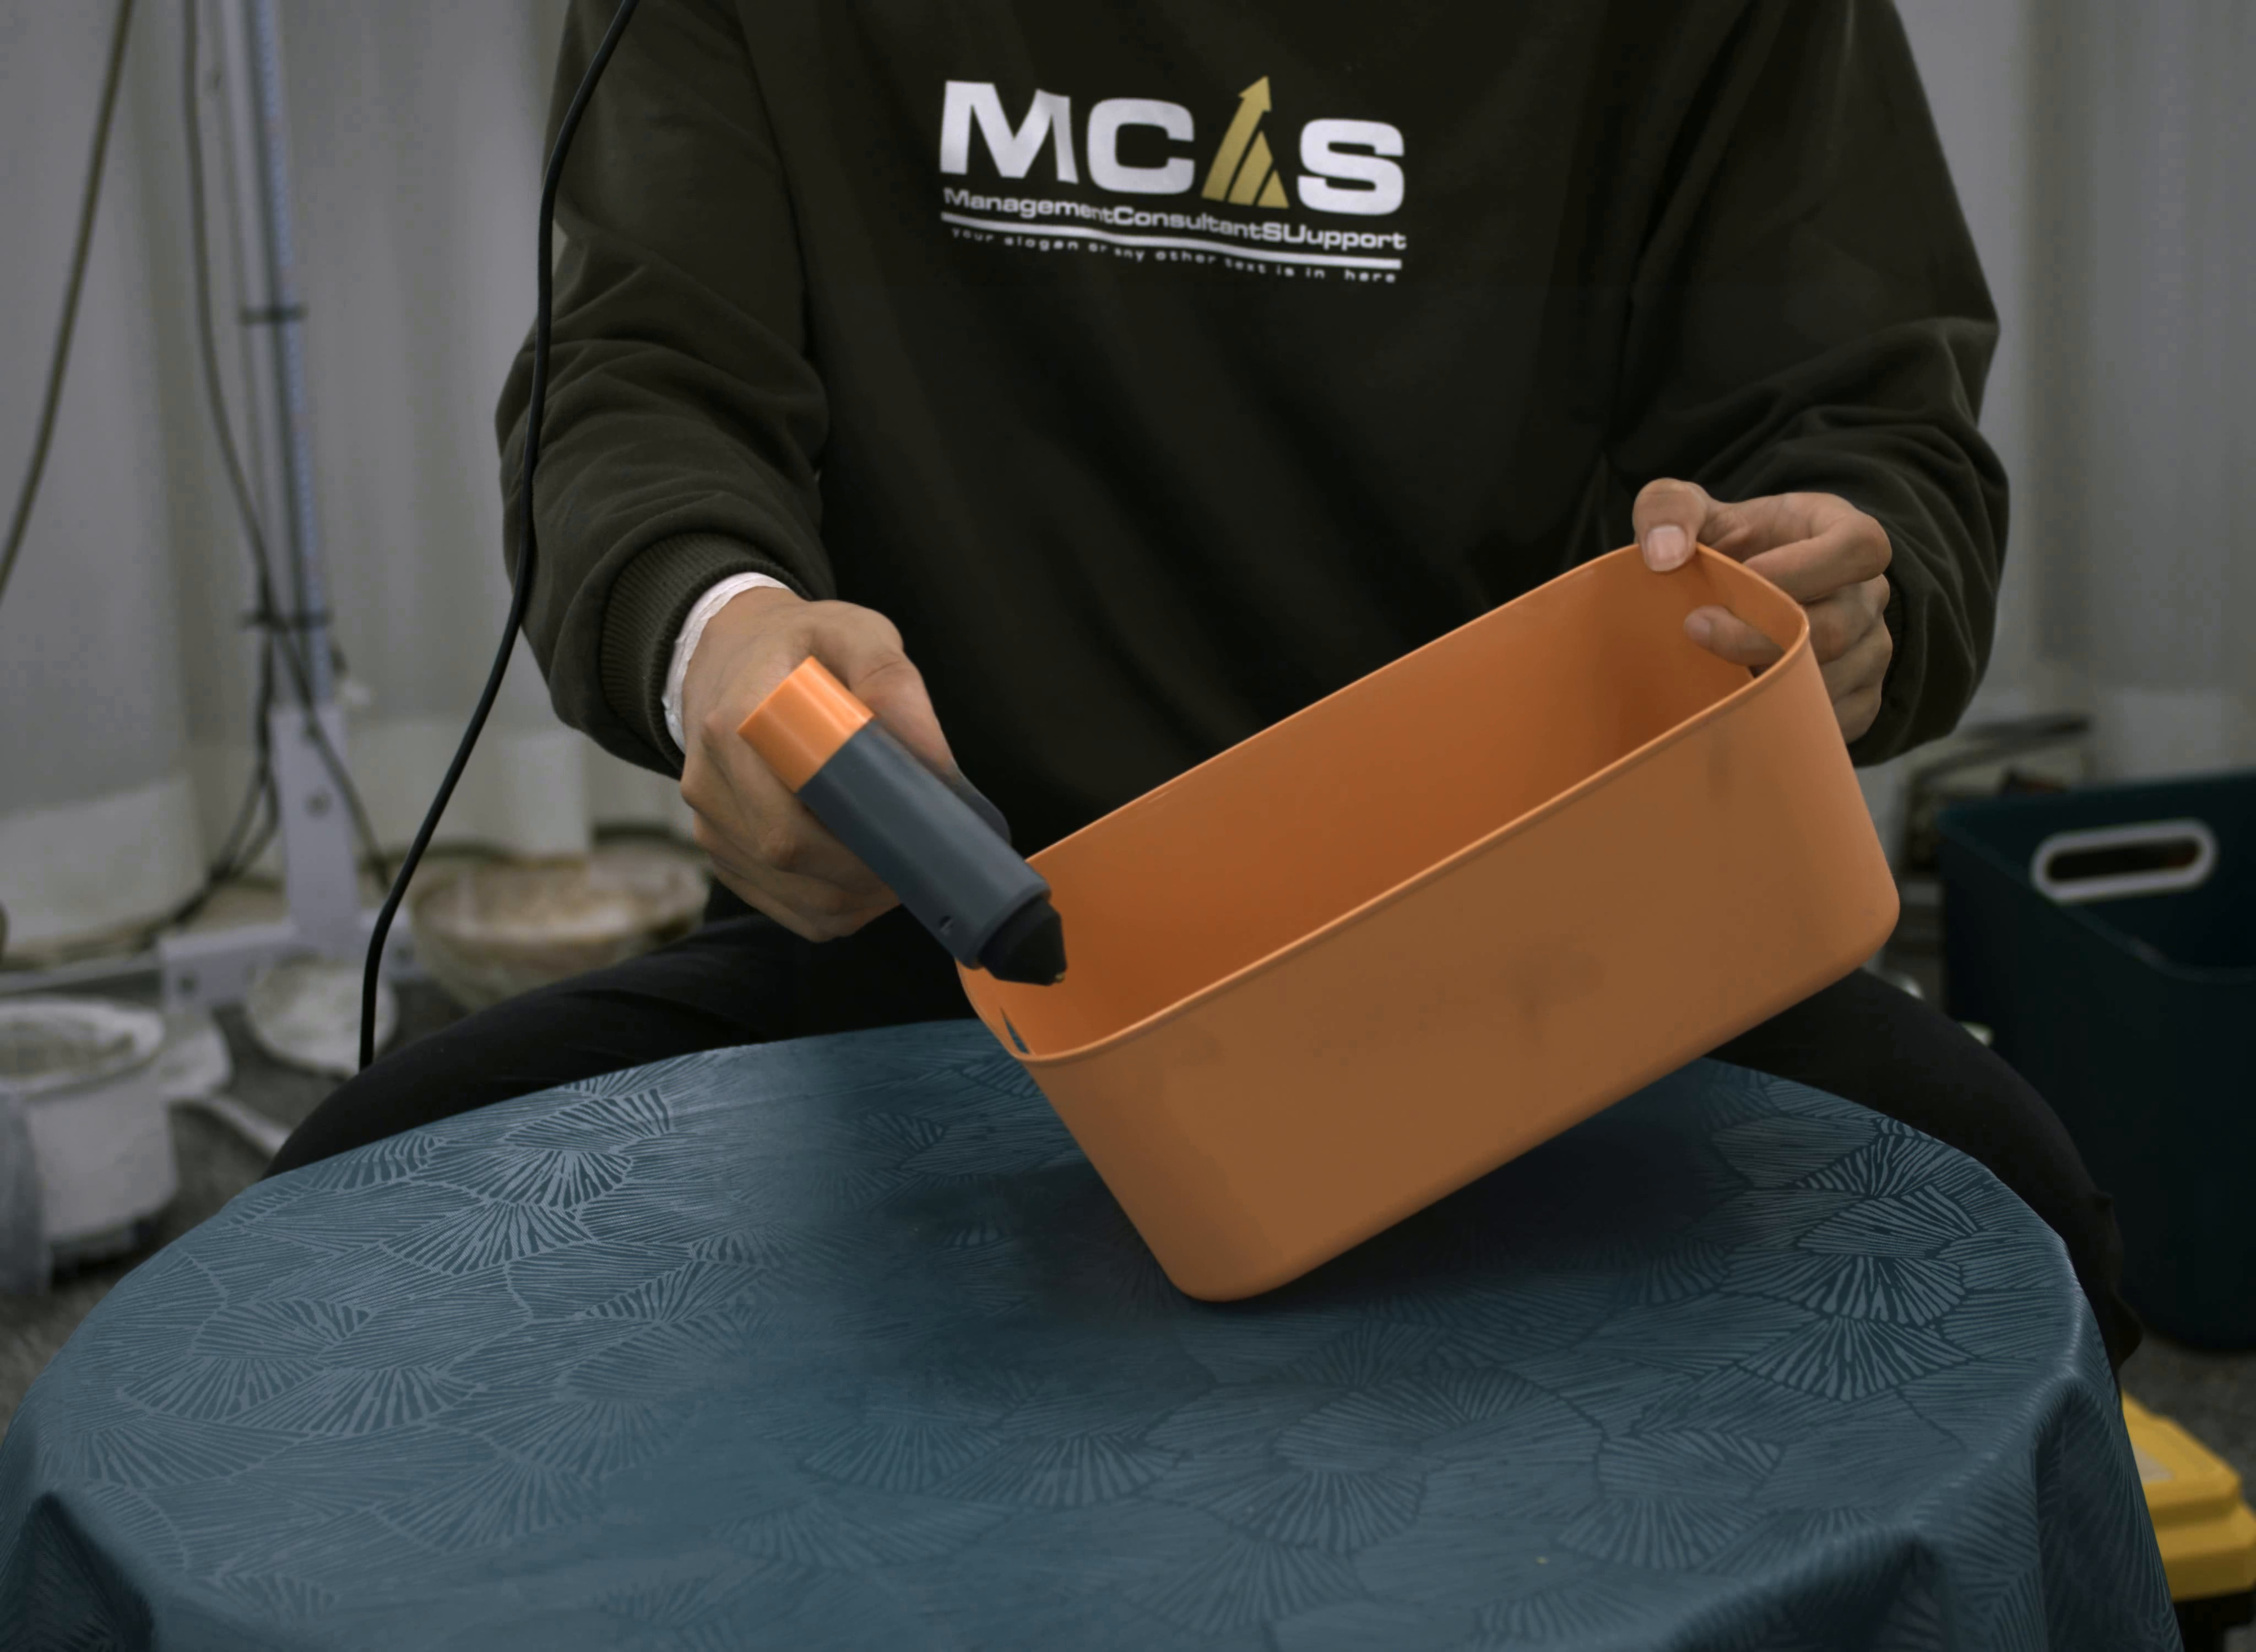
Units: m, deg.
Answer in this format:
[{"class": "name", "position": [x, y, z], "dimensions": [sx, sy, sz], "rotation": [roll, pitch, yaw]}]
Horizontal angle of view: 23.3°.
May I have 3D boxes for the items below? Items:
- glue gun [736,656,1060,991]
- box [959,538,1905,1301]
[{"class": "glue gun", "position": [-0.064, 0.001, 1.636], "dimensions": [0.041, 0.118, 0.140], "rotation": [-44, 3, 0]}, {"class": "box", "position": [0.094, 0.029, 1.669], "dimensions": [0.273, 0.102, 0.201], "rotation": [-29, 16, -4]}]
